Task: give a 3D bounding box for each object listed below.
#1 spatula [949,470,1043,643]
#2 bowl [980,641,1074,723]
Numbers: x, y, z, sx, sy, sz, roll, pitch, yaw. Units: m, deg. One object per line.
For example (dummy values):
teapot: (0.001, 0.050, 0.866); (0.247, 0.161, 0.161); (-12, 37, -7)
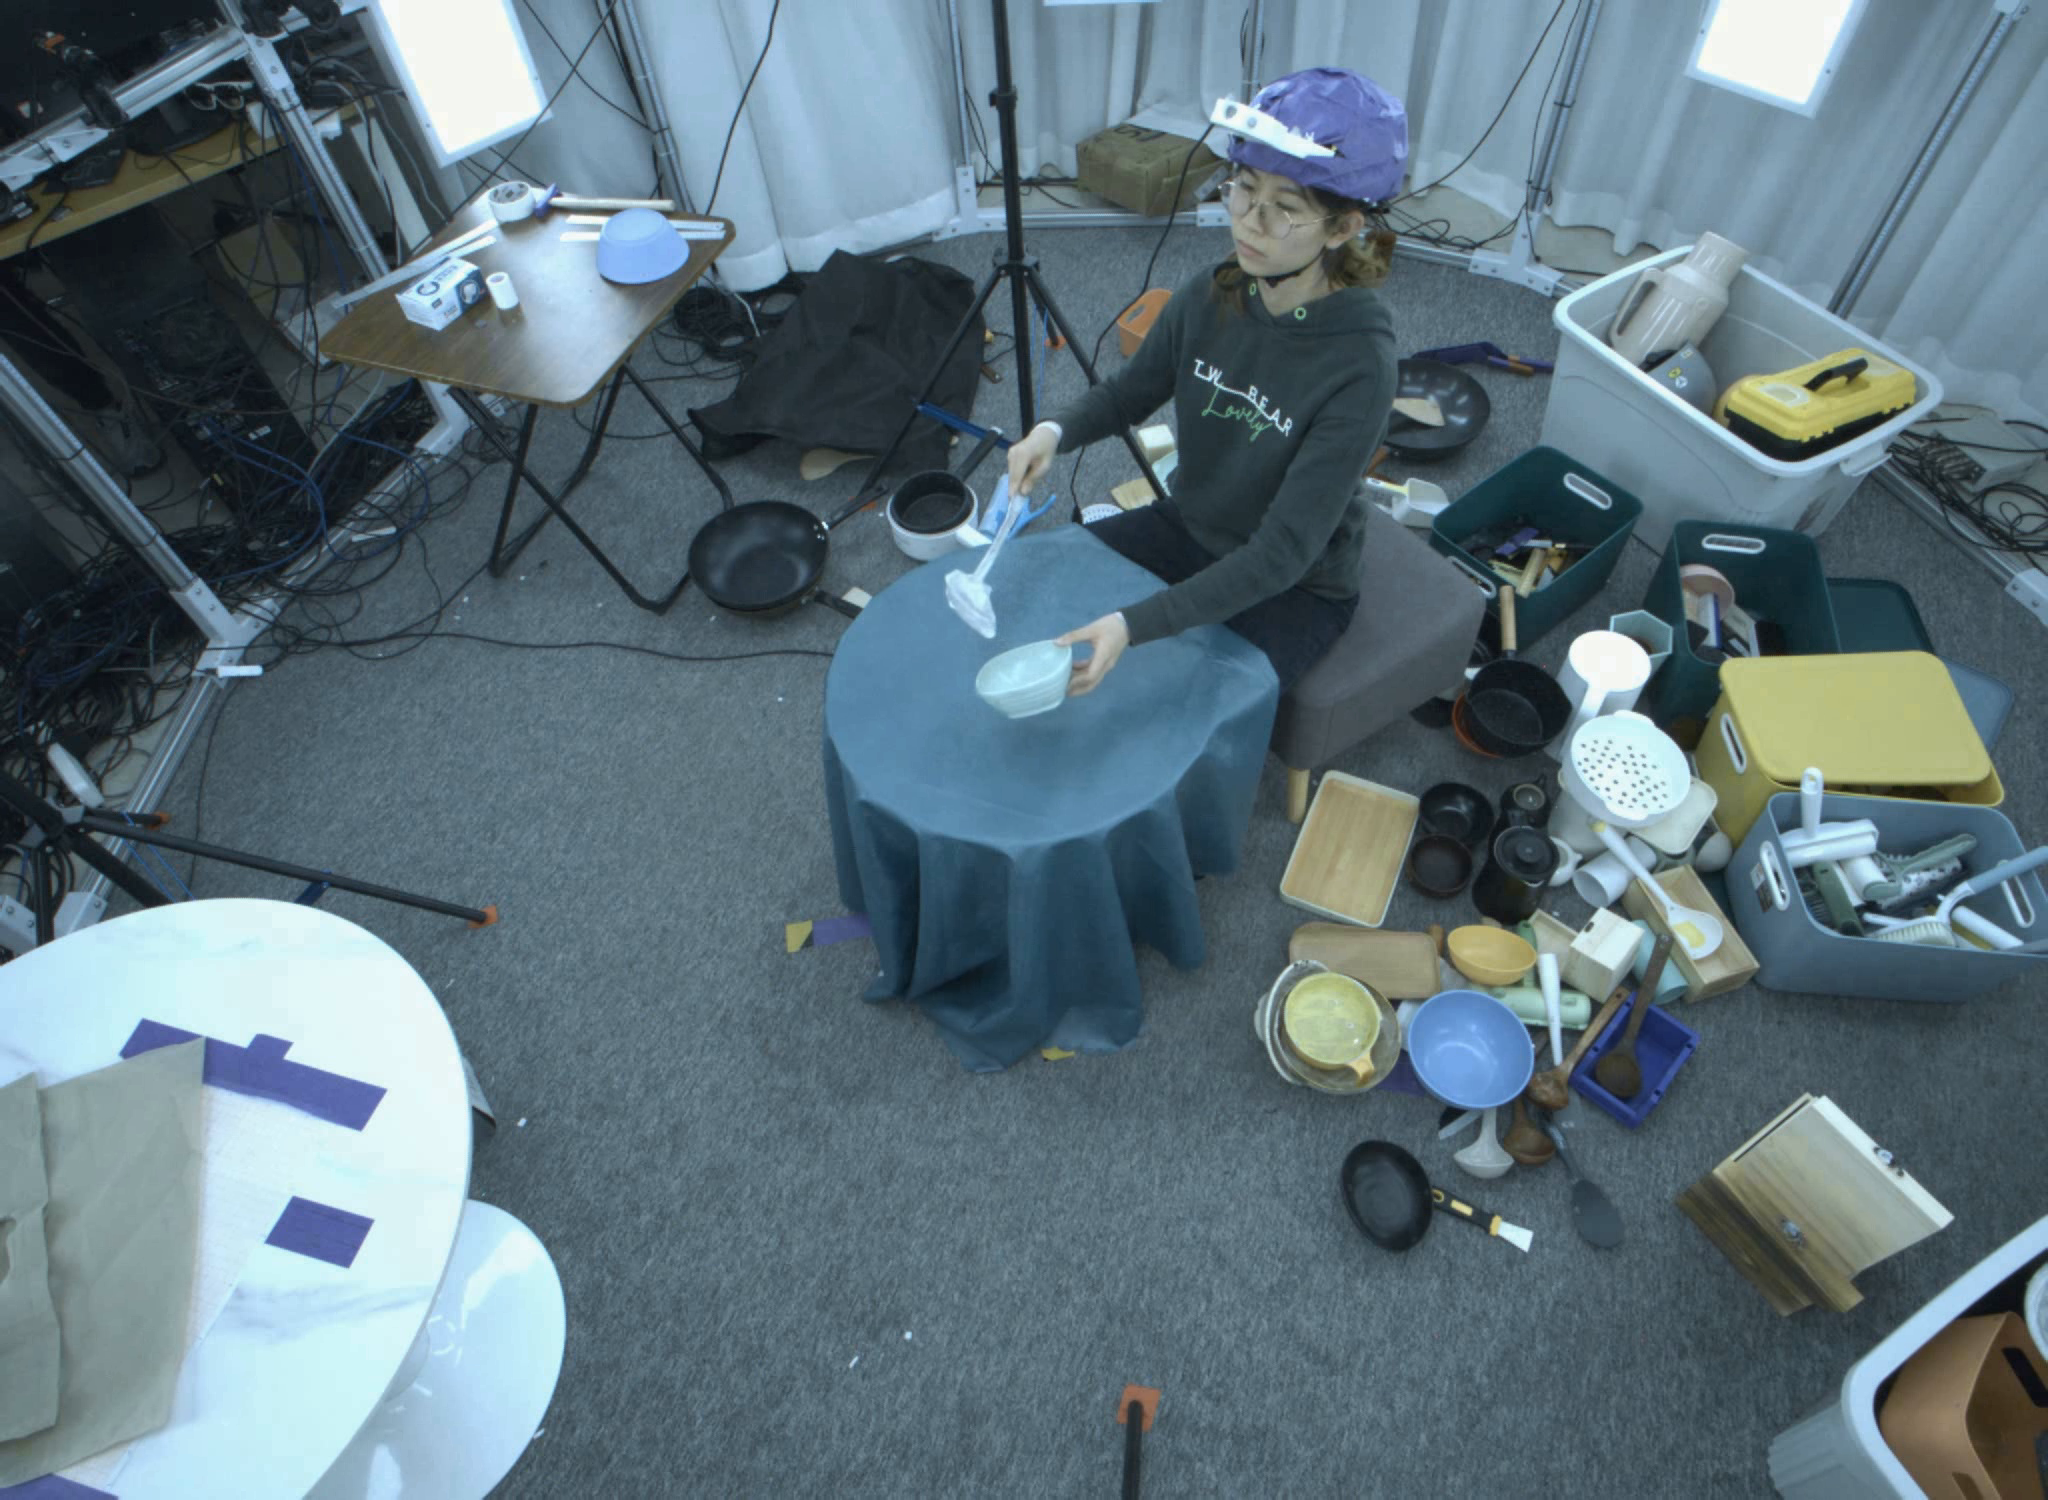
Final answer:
spatula: (-0.026, -0.302, 1.779); (0.044, 0.100, 0.364); (-17, 40, 46)
bowl: (0.012, -0.088, 1.721); (0.150, 0.059, 0.150); (-16, 30, 11)
